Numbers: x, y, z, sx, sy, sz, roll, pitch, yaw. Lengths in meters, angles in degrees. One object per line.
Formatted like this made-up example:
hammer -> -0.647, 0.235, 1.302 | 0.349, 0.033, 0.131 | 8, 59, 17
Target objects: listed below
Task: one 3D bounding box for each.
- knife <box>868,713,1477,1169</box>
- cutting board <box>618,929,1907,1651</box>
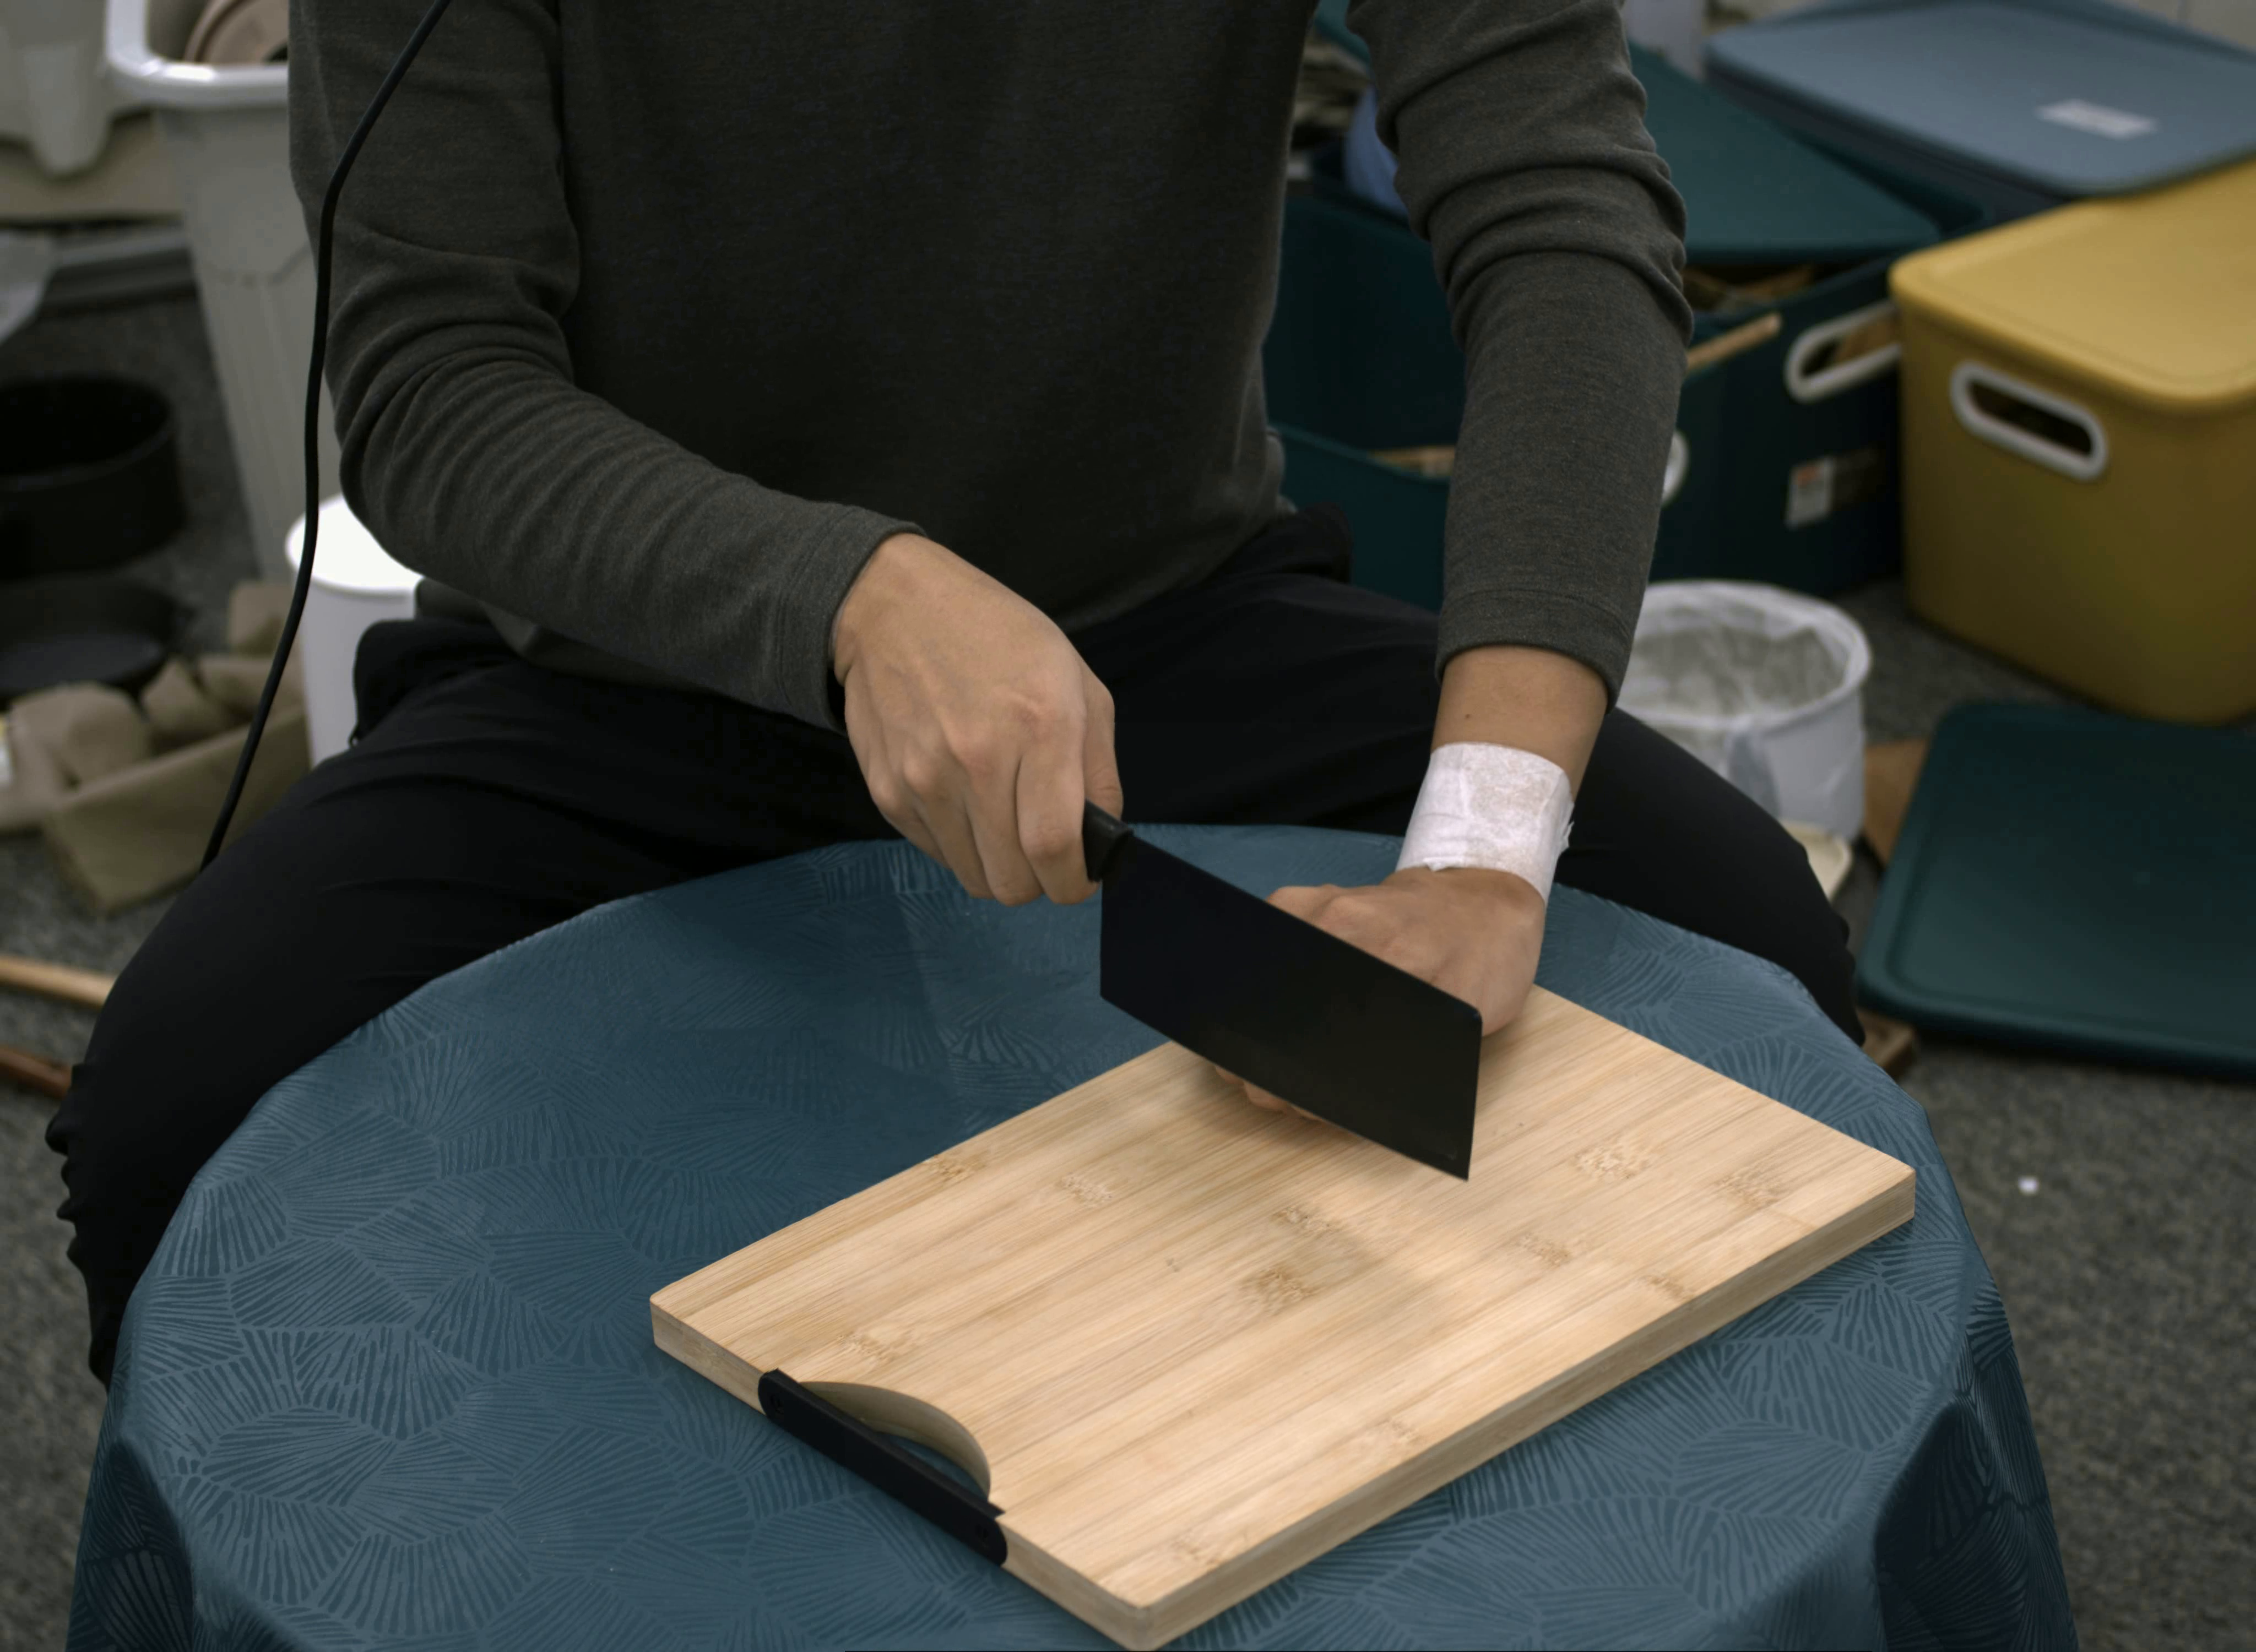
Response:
knife -> 0.011, 0.032, 1.857 | 0.021, 0.080, 0.303 | -14, 32, -38
cutting board -> 0.047, 0.141, 1.803 | 0.352, 0.023, 0.250 | -25, 34, -36
